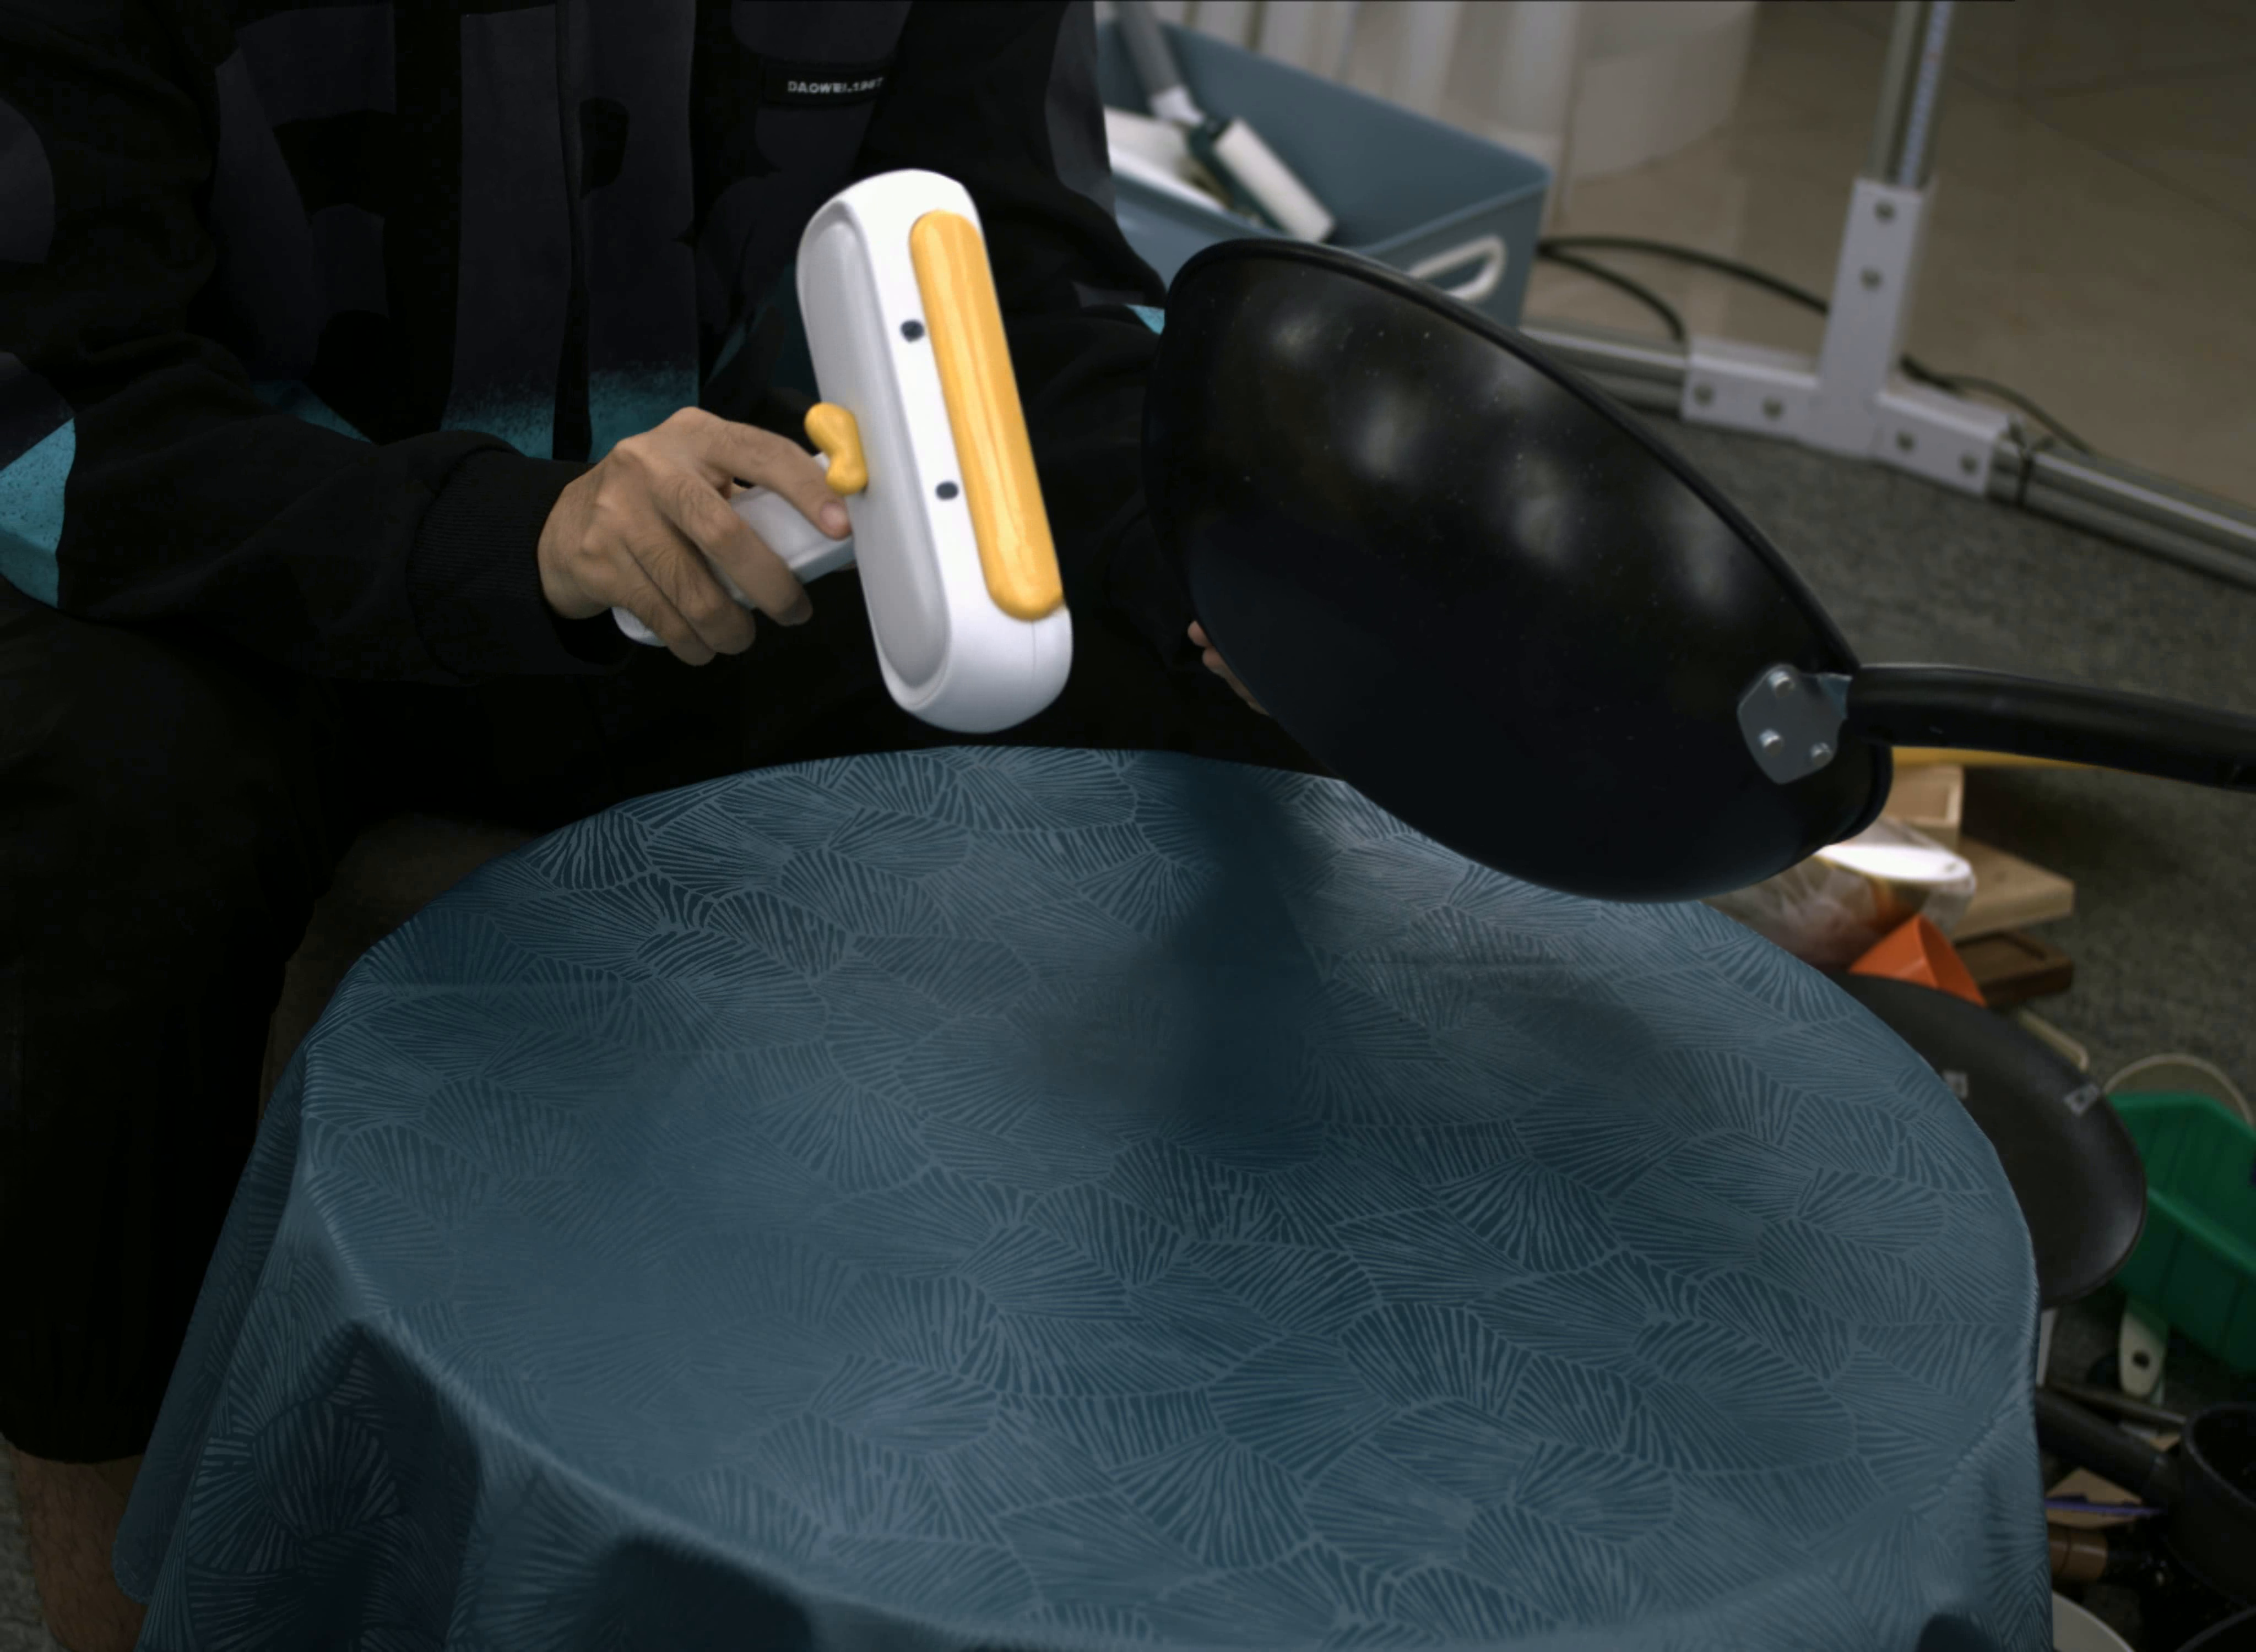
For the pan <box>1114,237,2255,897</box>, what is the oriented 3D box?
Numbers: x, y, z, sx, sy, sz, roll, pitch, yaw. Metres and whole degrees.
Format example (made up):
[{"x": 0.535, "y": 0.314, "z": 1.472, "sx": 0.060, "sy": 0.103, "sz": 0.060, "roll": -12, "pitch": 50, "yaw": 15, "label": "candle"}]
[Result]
[{"x": 0.171, "y": -0.053, "z": 1.789, "sx": 0.480, "sy": 0.307, "sz": 0.112, "roll": 23, "pitch": 69, "yaw": 42, "label": "pan"}]

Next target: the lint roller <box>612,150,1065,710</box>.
[{"x": -0.107, "y": -0.108, "z": 1.812, "sx": 0.073, "sy": 0.192, "sz": 0.194, "roll": -7, "pitch": 71, "yaw": -39, "label": "lint roller"}]
